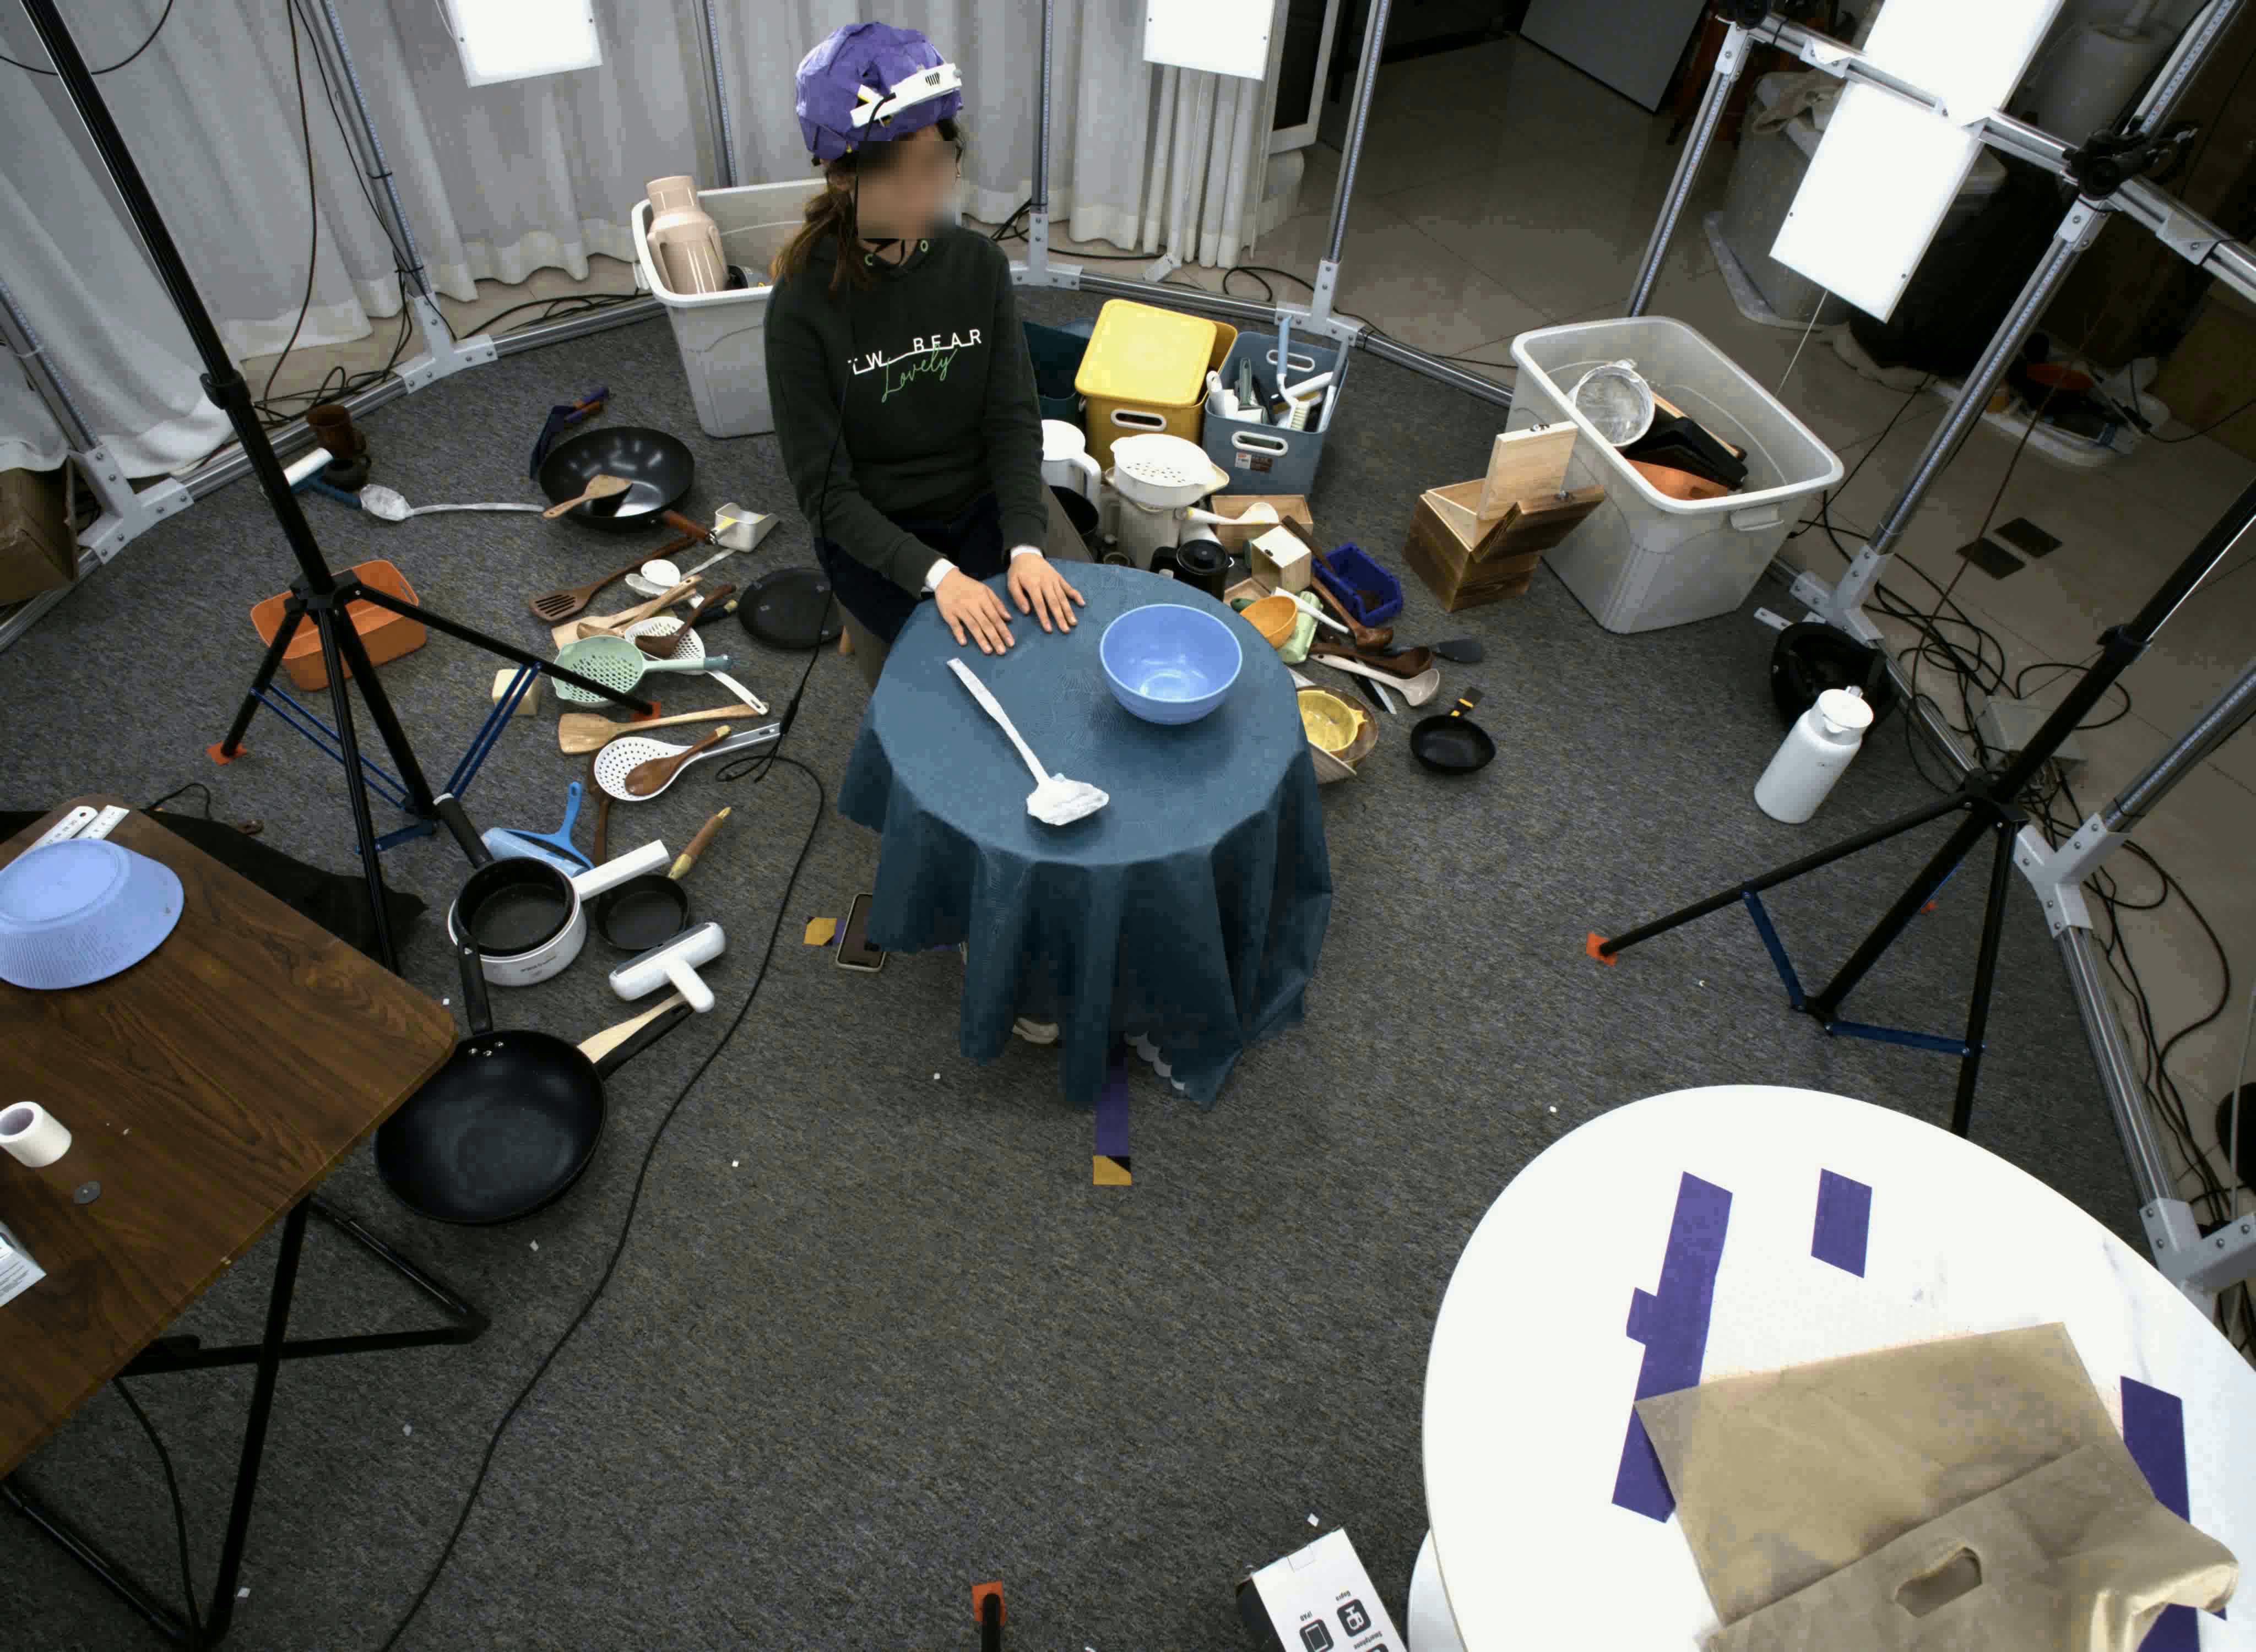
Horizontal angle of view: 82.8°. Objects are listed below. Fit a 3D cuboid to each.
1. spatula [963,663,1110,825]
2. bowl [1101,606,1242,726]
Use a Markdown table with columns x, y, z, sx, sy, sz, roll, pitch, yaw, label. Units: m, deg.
| x | y | z | sx | sy | sz | roll | pitch | yaw | label |
| --- | --- | --- | --- | --- | --- | --- | --- | --- | --- |
| -0.148 | -0.123 | 1.756 | 0.099 | 0.043 | 0.372 | -23 | 54 | -20 | spatula |
| 0.058 | -0.210 | 1.810 | 0.196 | 0.093 | 0.201 | 1 | 50 | -2 | bowl |
